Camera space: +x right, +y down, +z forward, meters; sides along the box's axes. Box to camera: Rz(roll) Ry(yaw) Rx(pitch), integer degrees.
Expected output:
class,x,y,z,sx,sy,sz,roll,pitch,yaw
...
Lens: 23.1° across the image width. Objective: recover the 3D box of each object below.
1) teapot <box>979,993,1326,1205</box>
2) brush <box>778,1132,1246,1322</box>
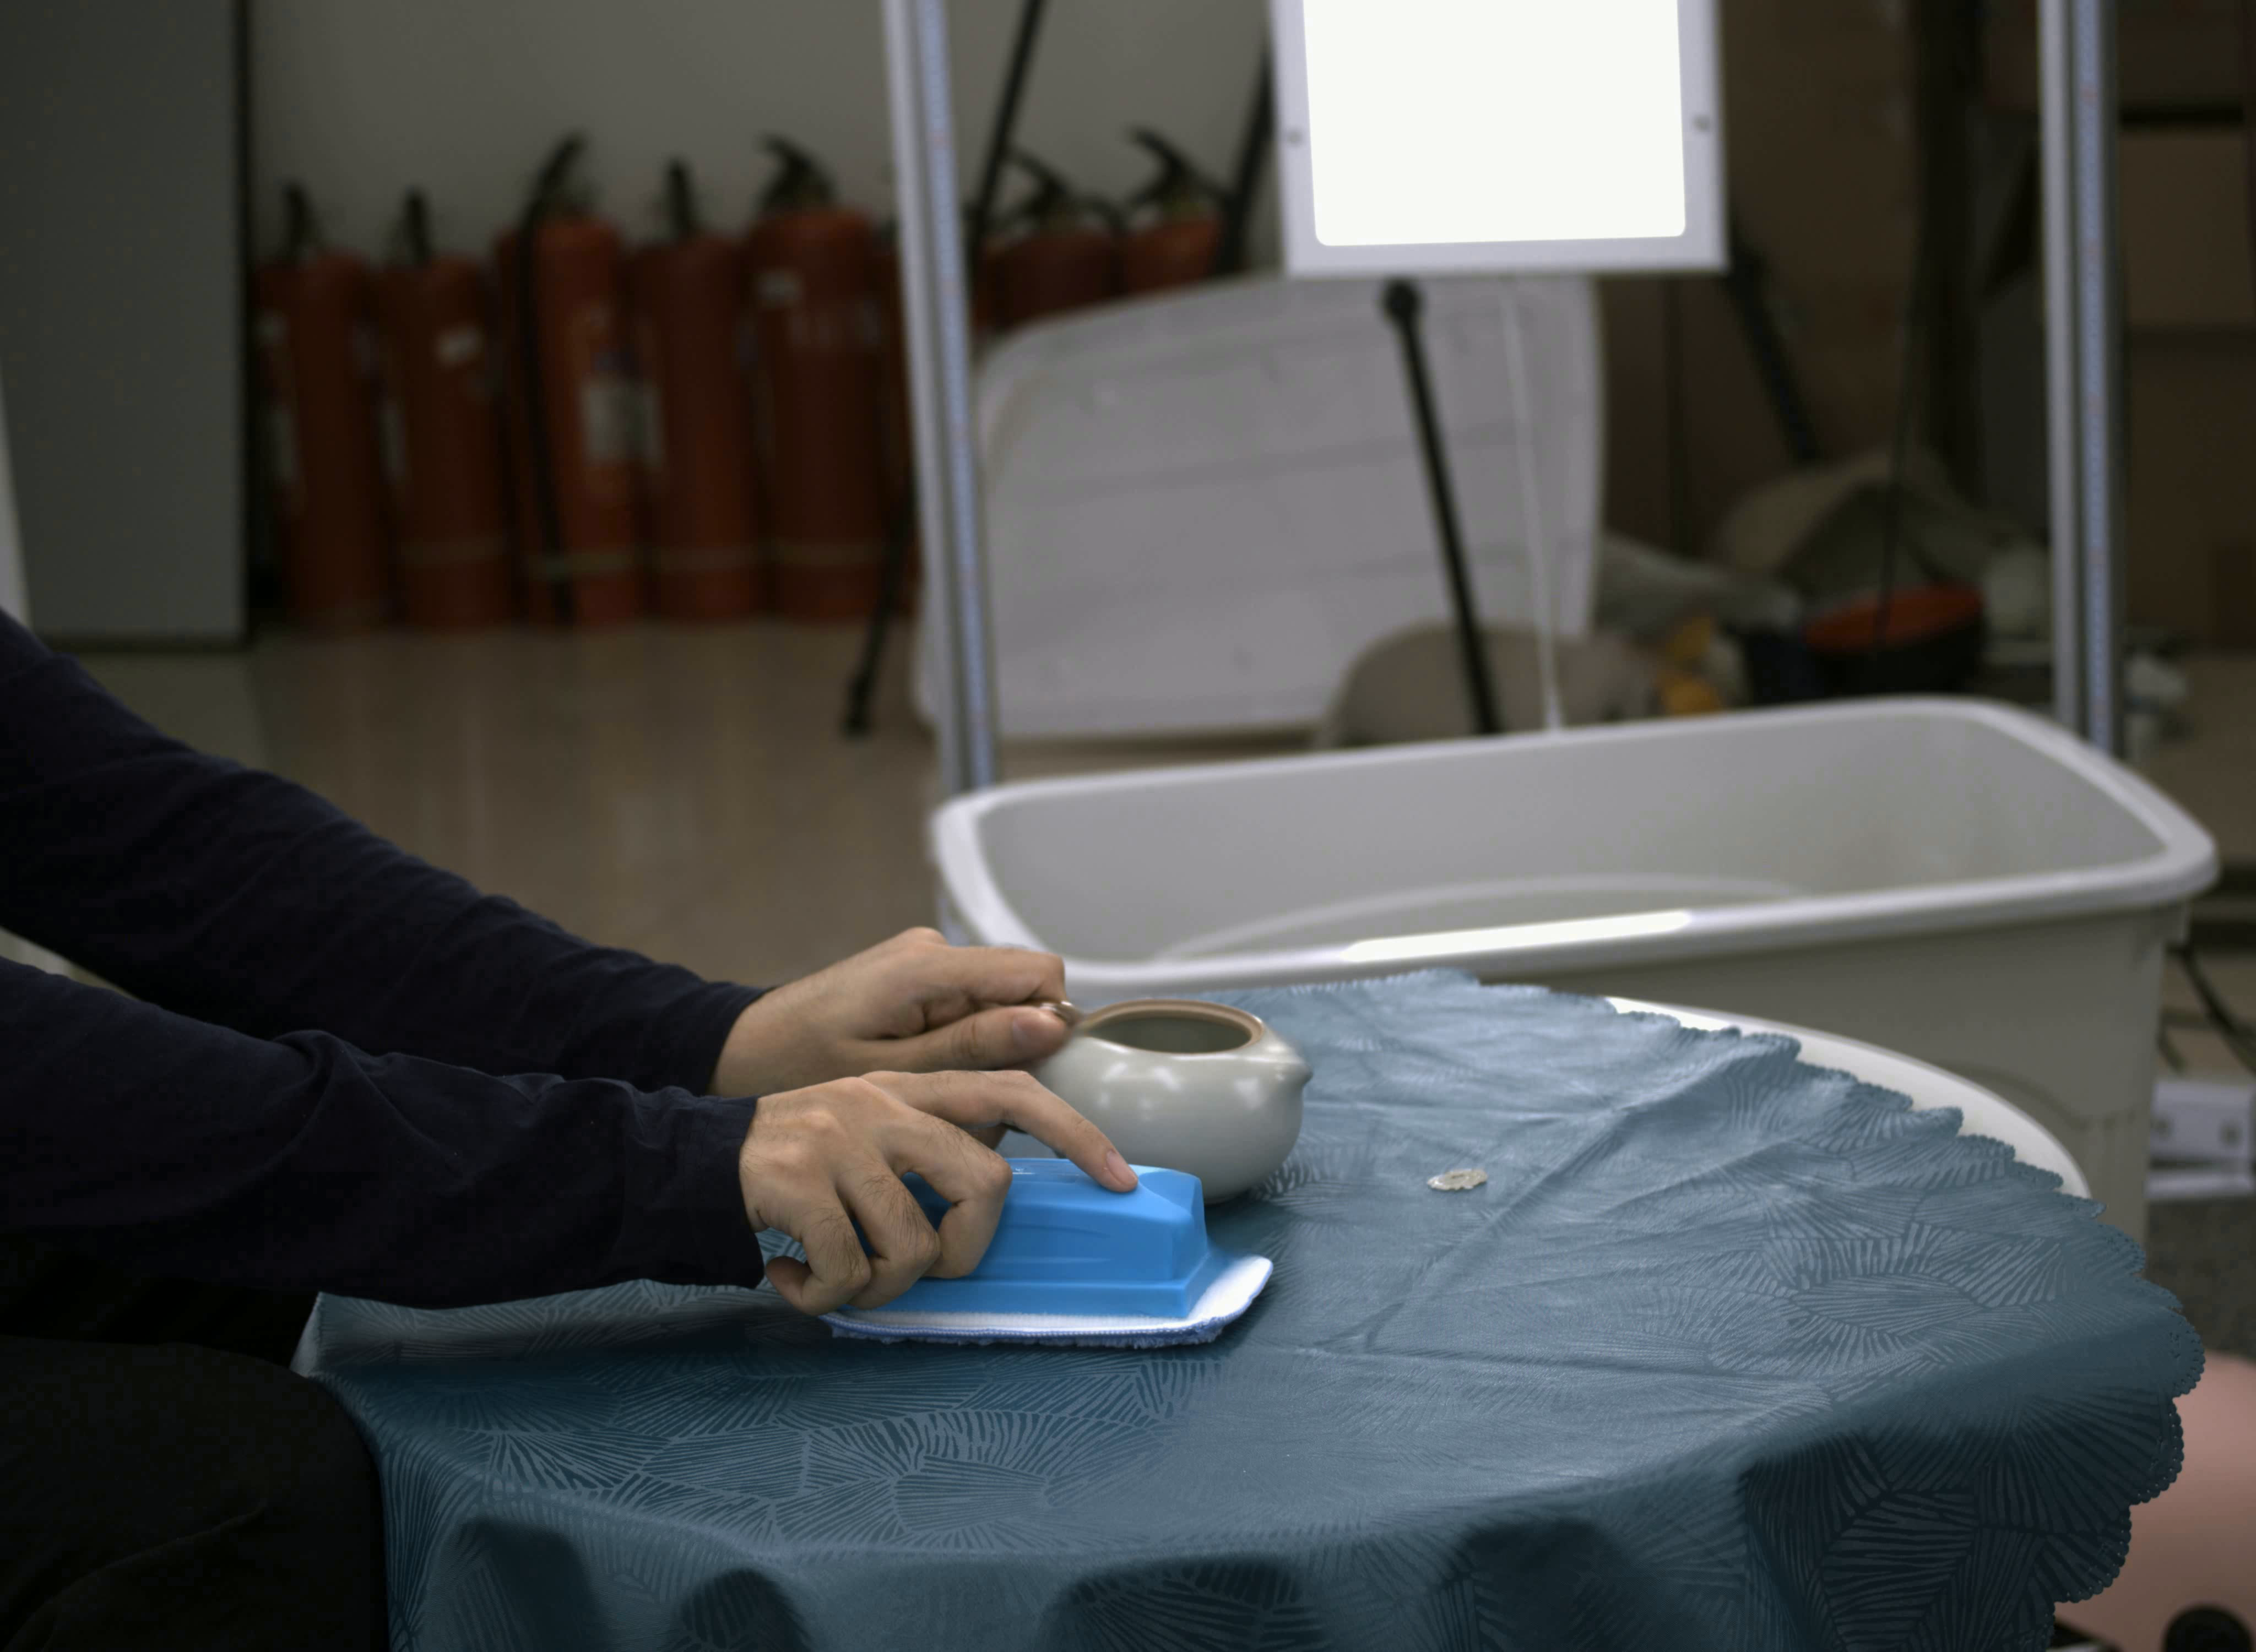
class,x,y,z,sx,sy,sz,roll,pitch,yaw
teapot,0.007,0.092,1.893,0.130,0.060,0.090,11,20,22
brush,-0.037,0.129,1.774,0.146,0.056,0.082,3,12,20
